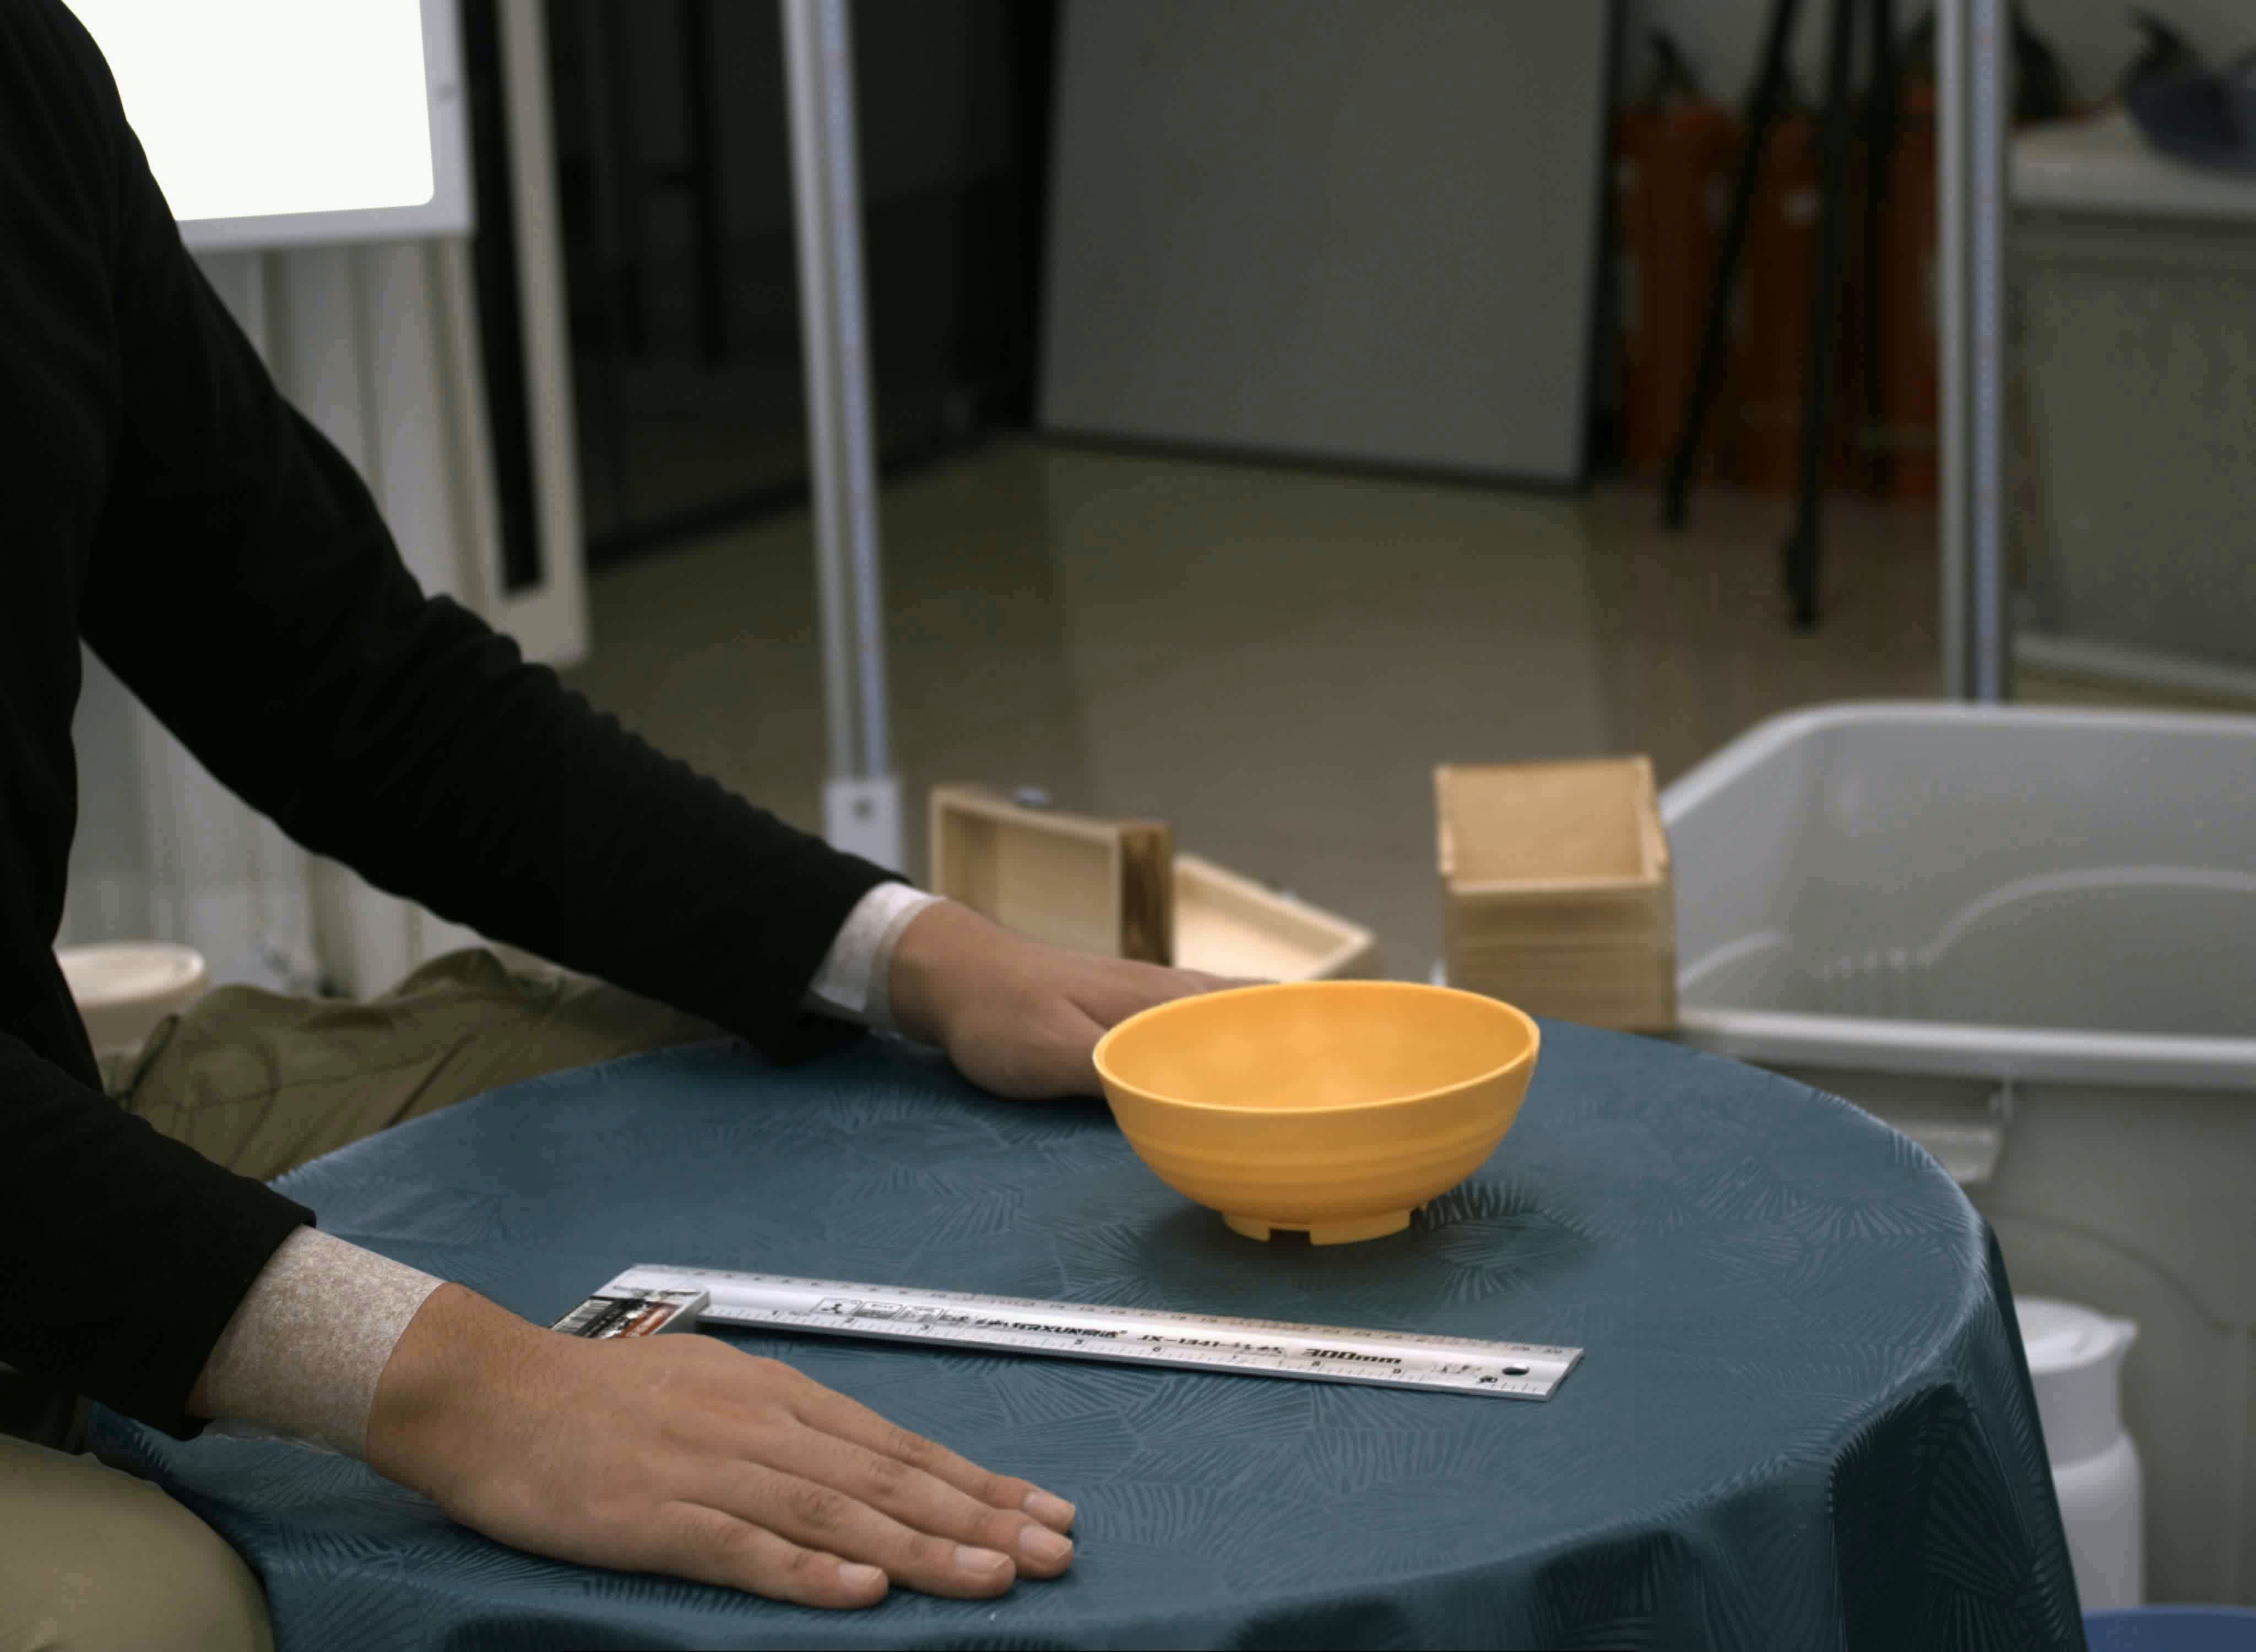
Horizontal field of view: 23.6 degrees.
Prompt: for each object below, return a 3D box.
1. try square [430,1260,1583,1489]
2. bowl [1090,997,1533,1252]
[{"bbox_3d":[-0.035,0.169,1.583,0.313,0.016,0.151,3,19,23],"label":"try square"},{"bbox_3d":[0.061,0.099,1.726,0.143,0.061,0.145,-5,11,0],"label":"bowl"}]
